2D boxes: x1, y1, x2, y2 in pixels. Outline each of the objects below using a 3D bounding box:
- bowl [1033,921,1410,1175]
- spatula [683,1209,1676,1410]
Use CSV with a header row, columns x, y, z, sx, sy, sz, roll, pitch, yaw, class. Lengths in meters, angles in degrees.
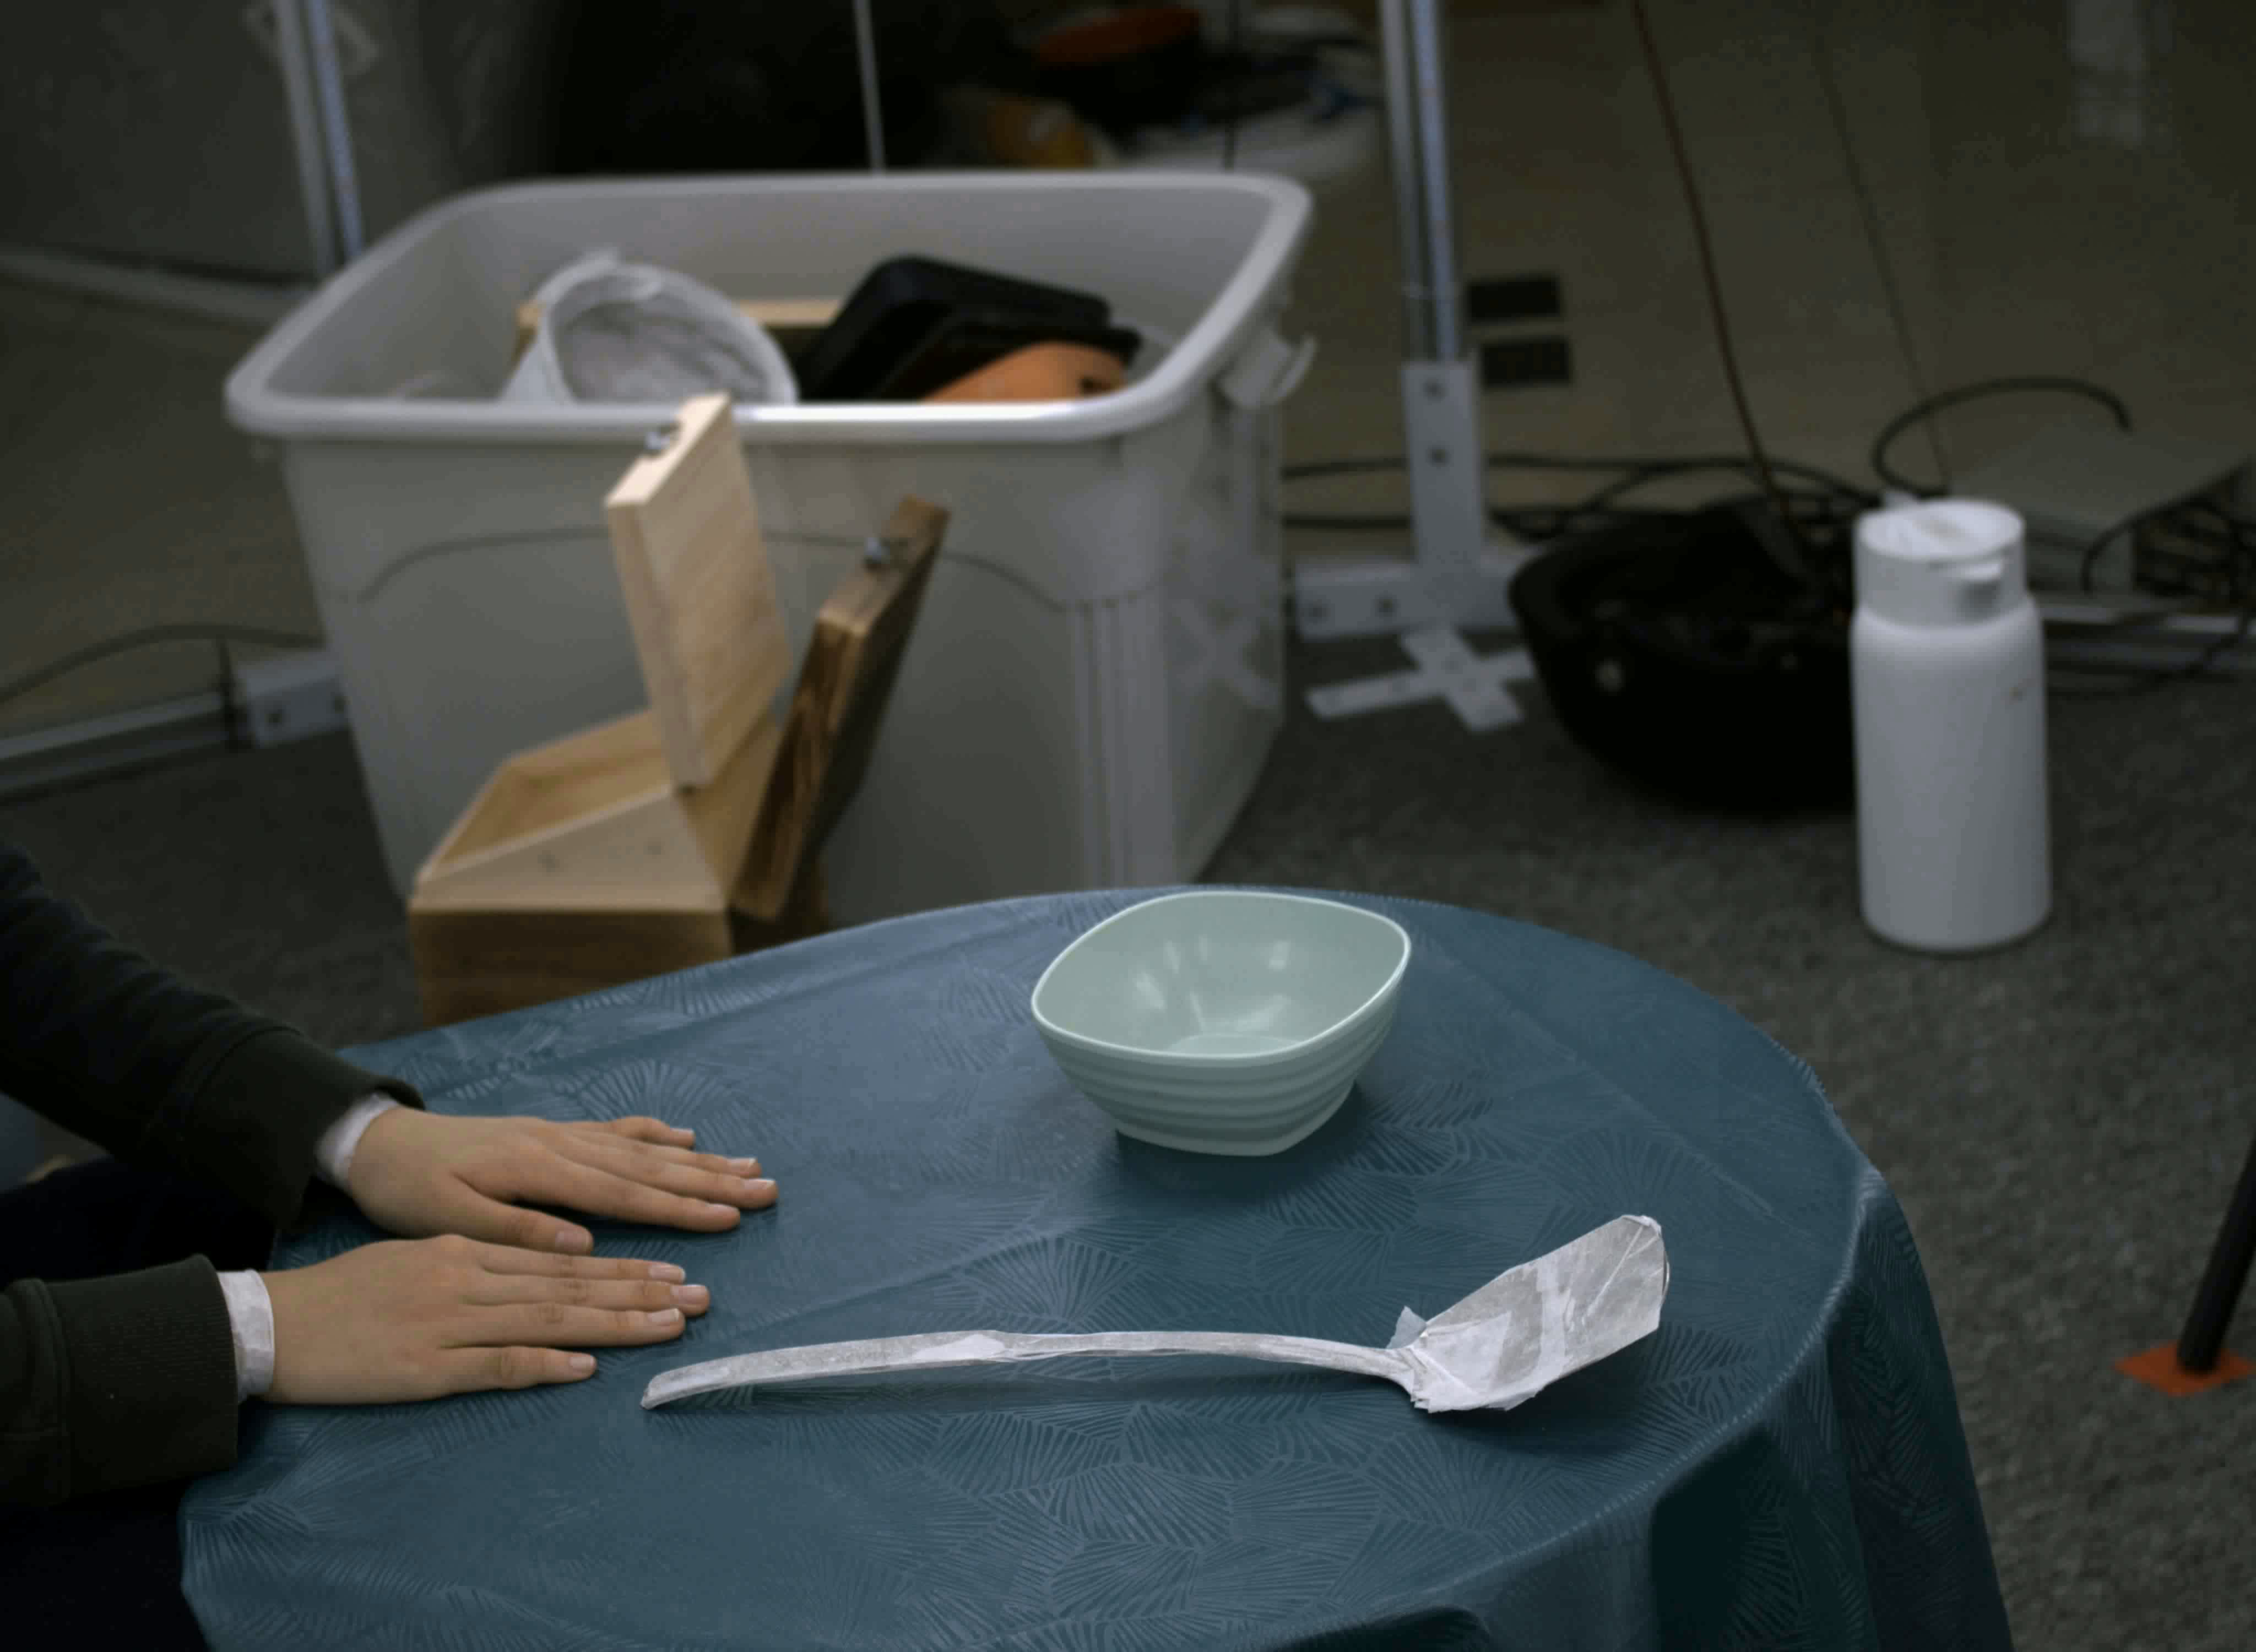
x,y,z,sx,sy,sz,roll,pitch,yaw,class
0.040,0.091,2.194,0.151,0.059,0.149,-9,22,4,bowl
0.013,0.179,2.017,0.364,0.045,0.097,-2,27,9,spatula
